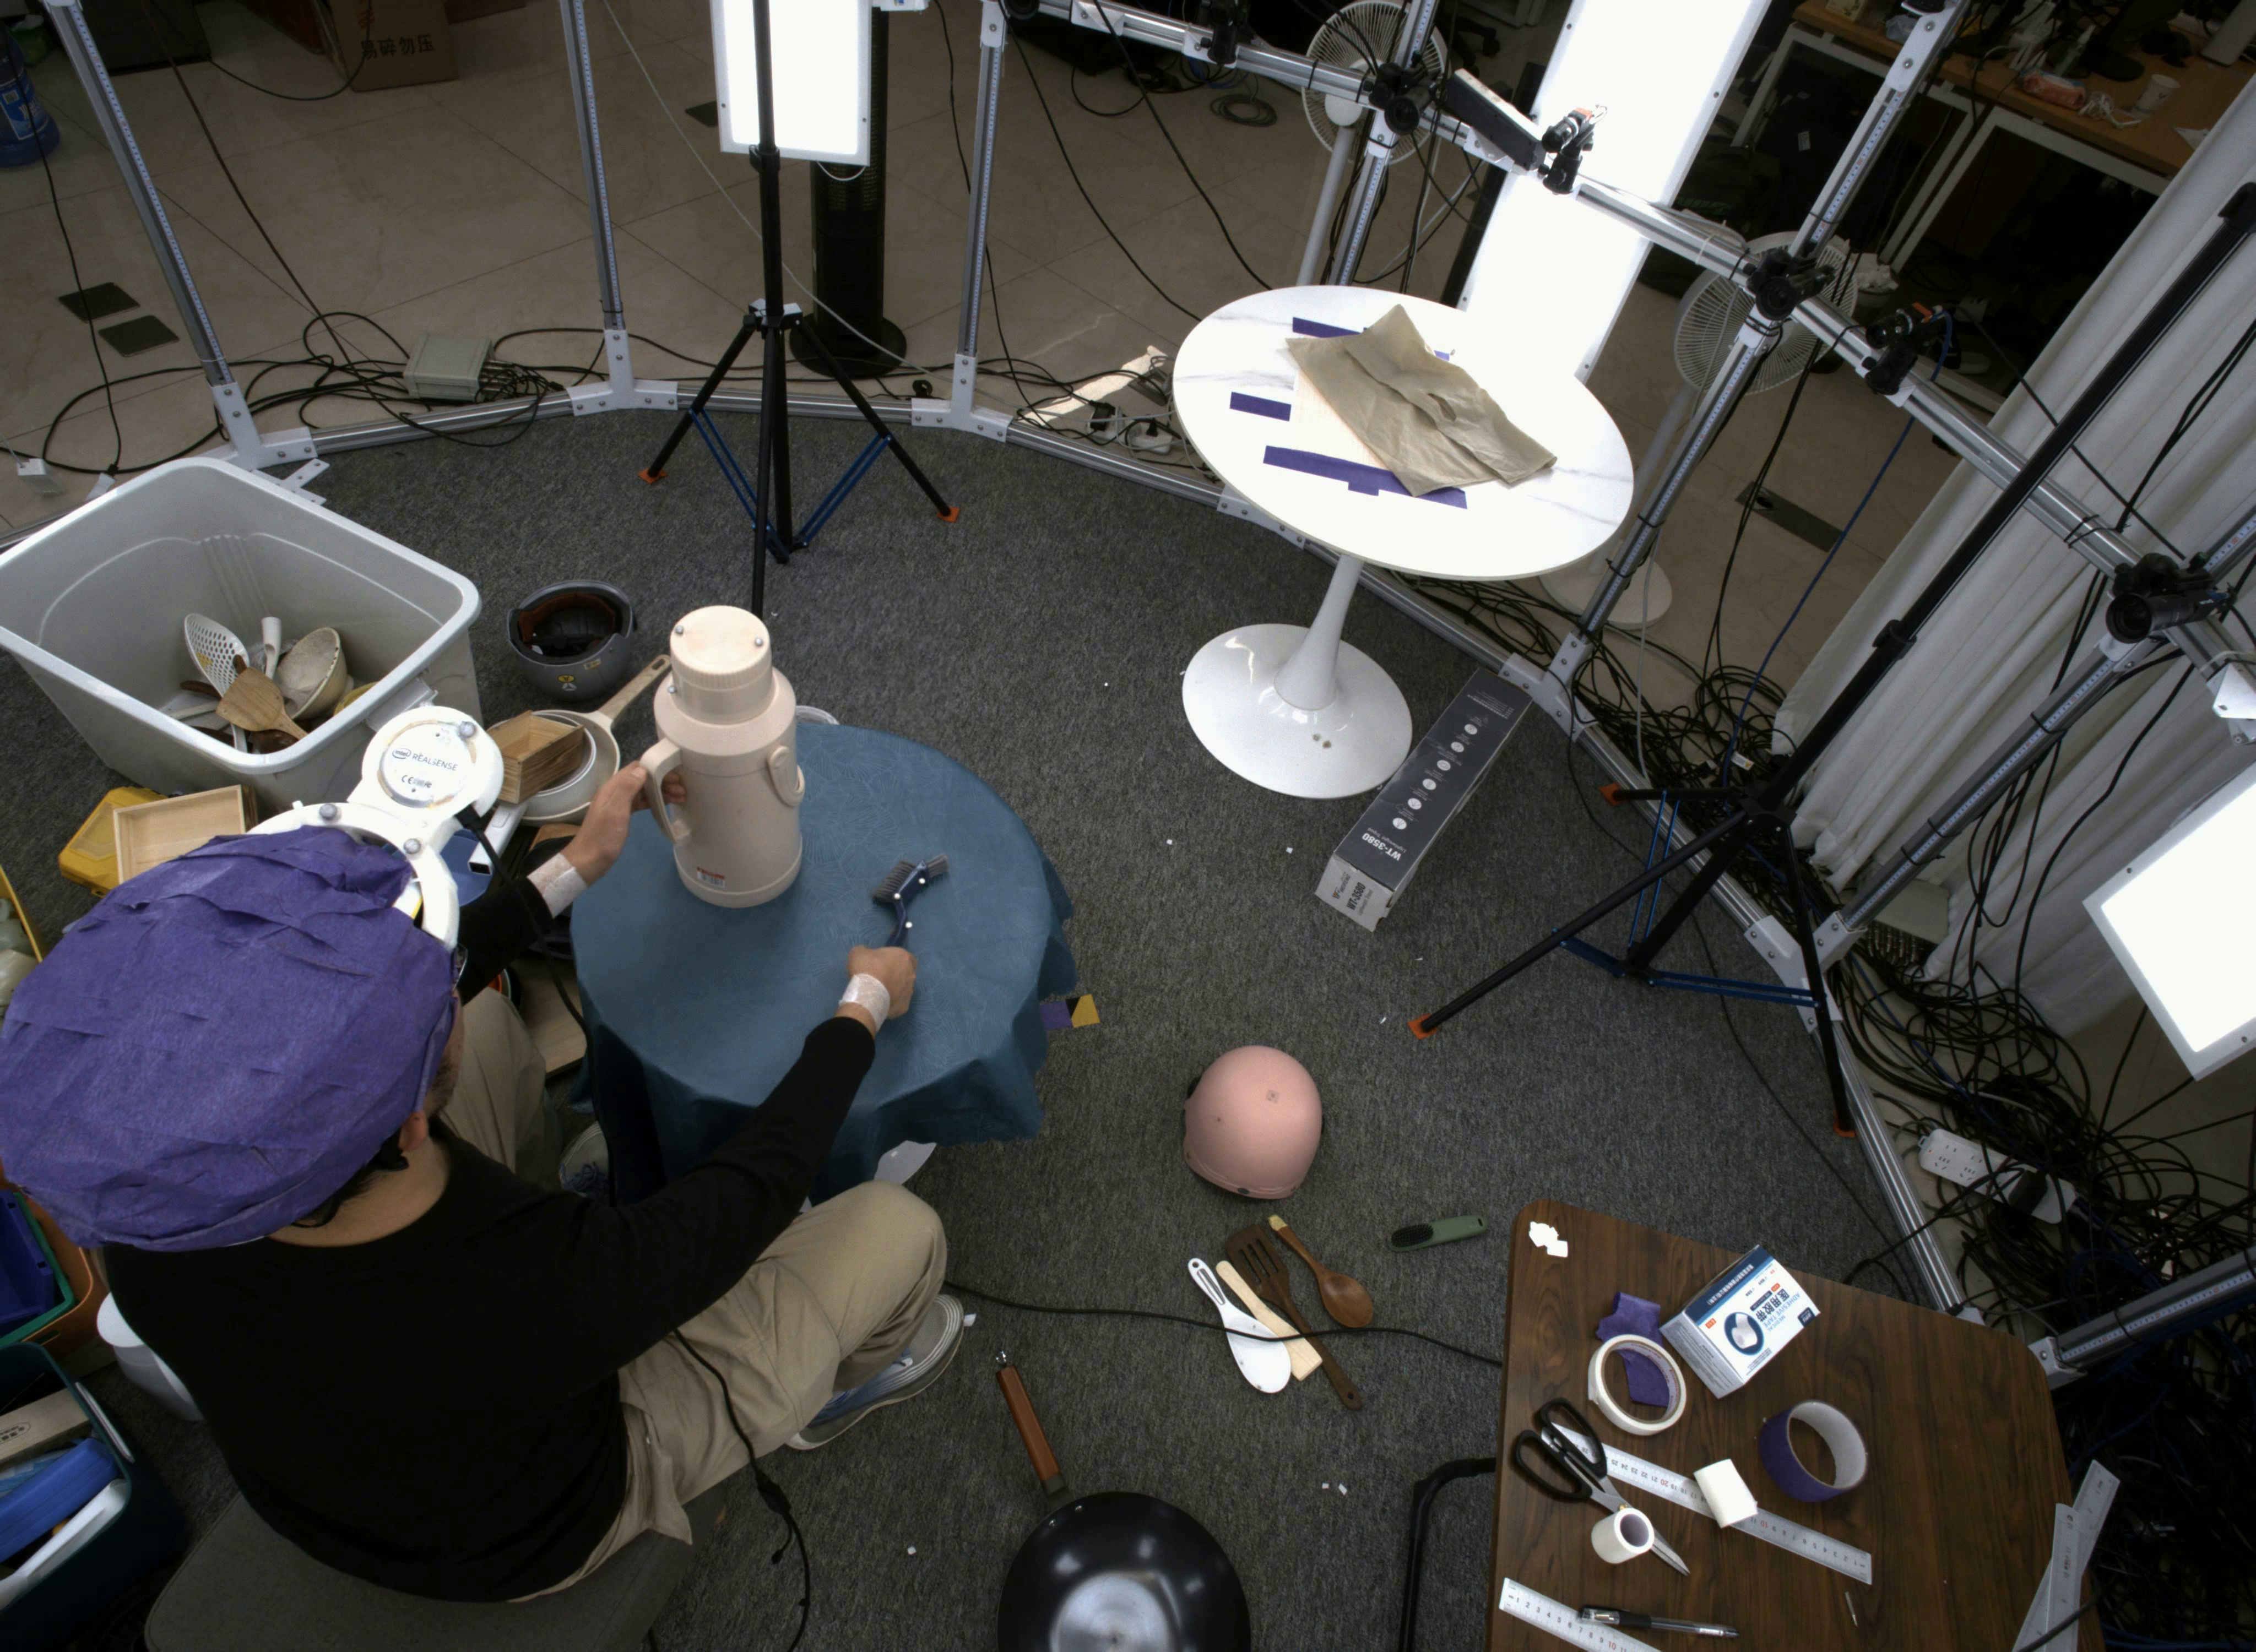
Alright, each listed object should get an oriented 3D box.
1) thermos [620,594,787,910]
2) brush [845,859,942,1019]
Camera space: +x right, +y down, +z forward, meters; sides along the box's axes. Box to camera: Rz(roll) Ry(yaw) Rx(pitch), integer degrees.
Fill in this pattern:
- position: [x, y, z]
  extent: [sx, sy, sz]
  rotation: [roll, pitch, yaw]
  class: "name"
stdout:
- position: [-0.497, -0.075, 1.498]
  extent: [0.172, 0.414, 0.207]
  rotation: [34, 53, 13]
  class: "thermos"
- position: [-0.292, 0.128, 1.607]
  extent: [0.095, 0.034, 0.267]
  rotation: [3, 39, -2]
  class: "brush"
